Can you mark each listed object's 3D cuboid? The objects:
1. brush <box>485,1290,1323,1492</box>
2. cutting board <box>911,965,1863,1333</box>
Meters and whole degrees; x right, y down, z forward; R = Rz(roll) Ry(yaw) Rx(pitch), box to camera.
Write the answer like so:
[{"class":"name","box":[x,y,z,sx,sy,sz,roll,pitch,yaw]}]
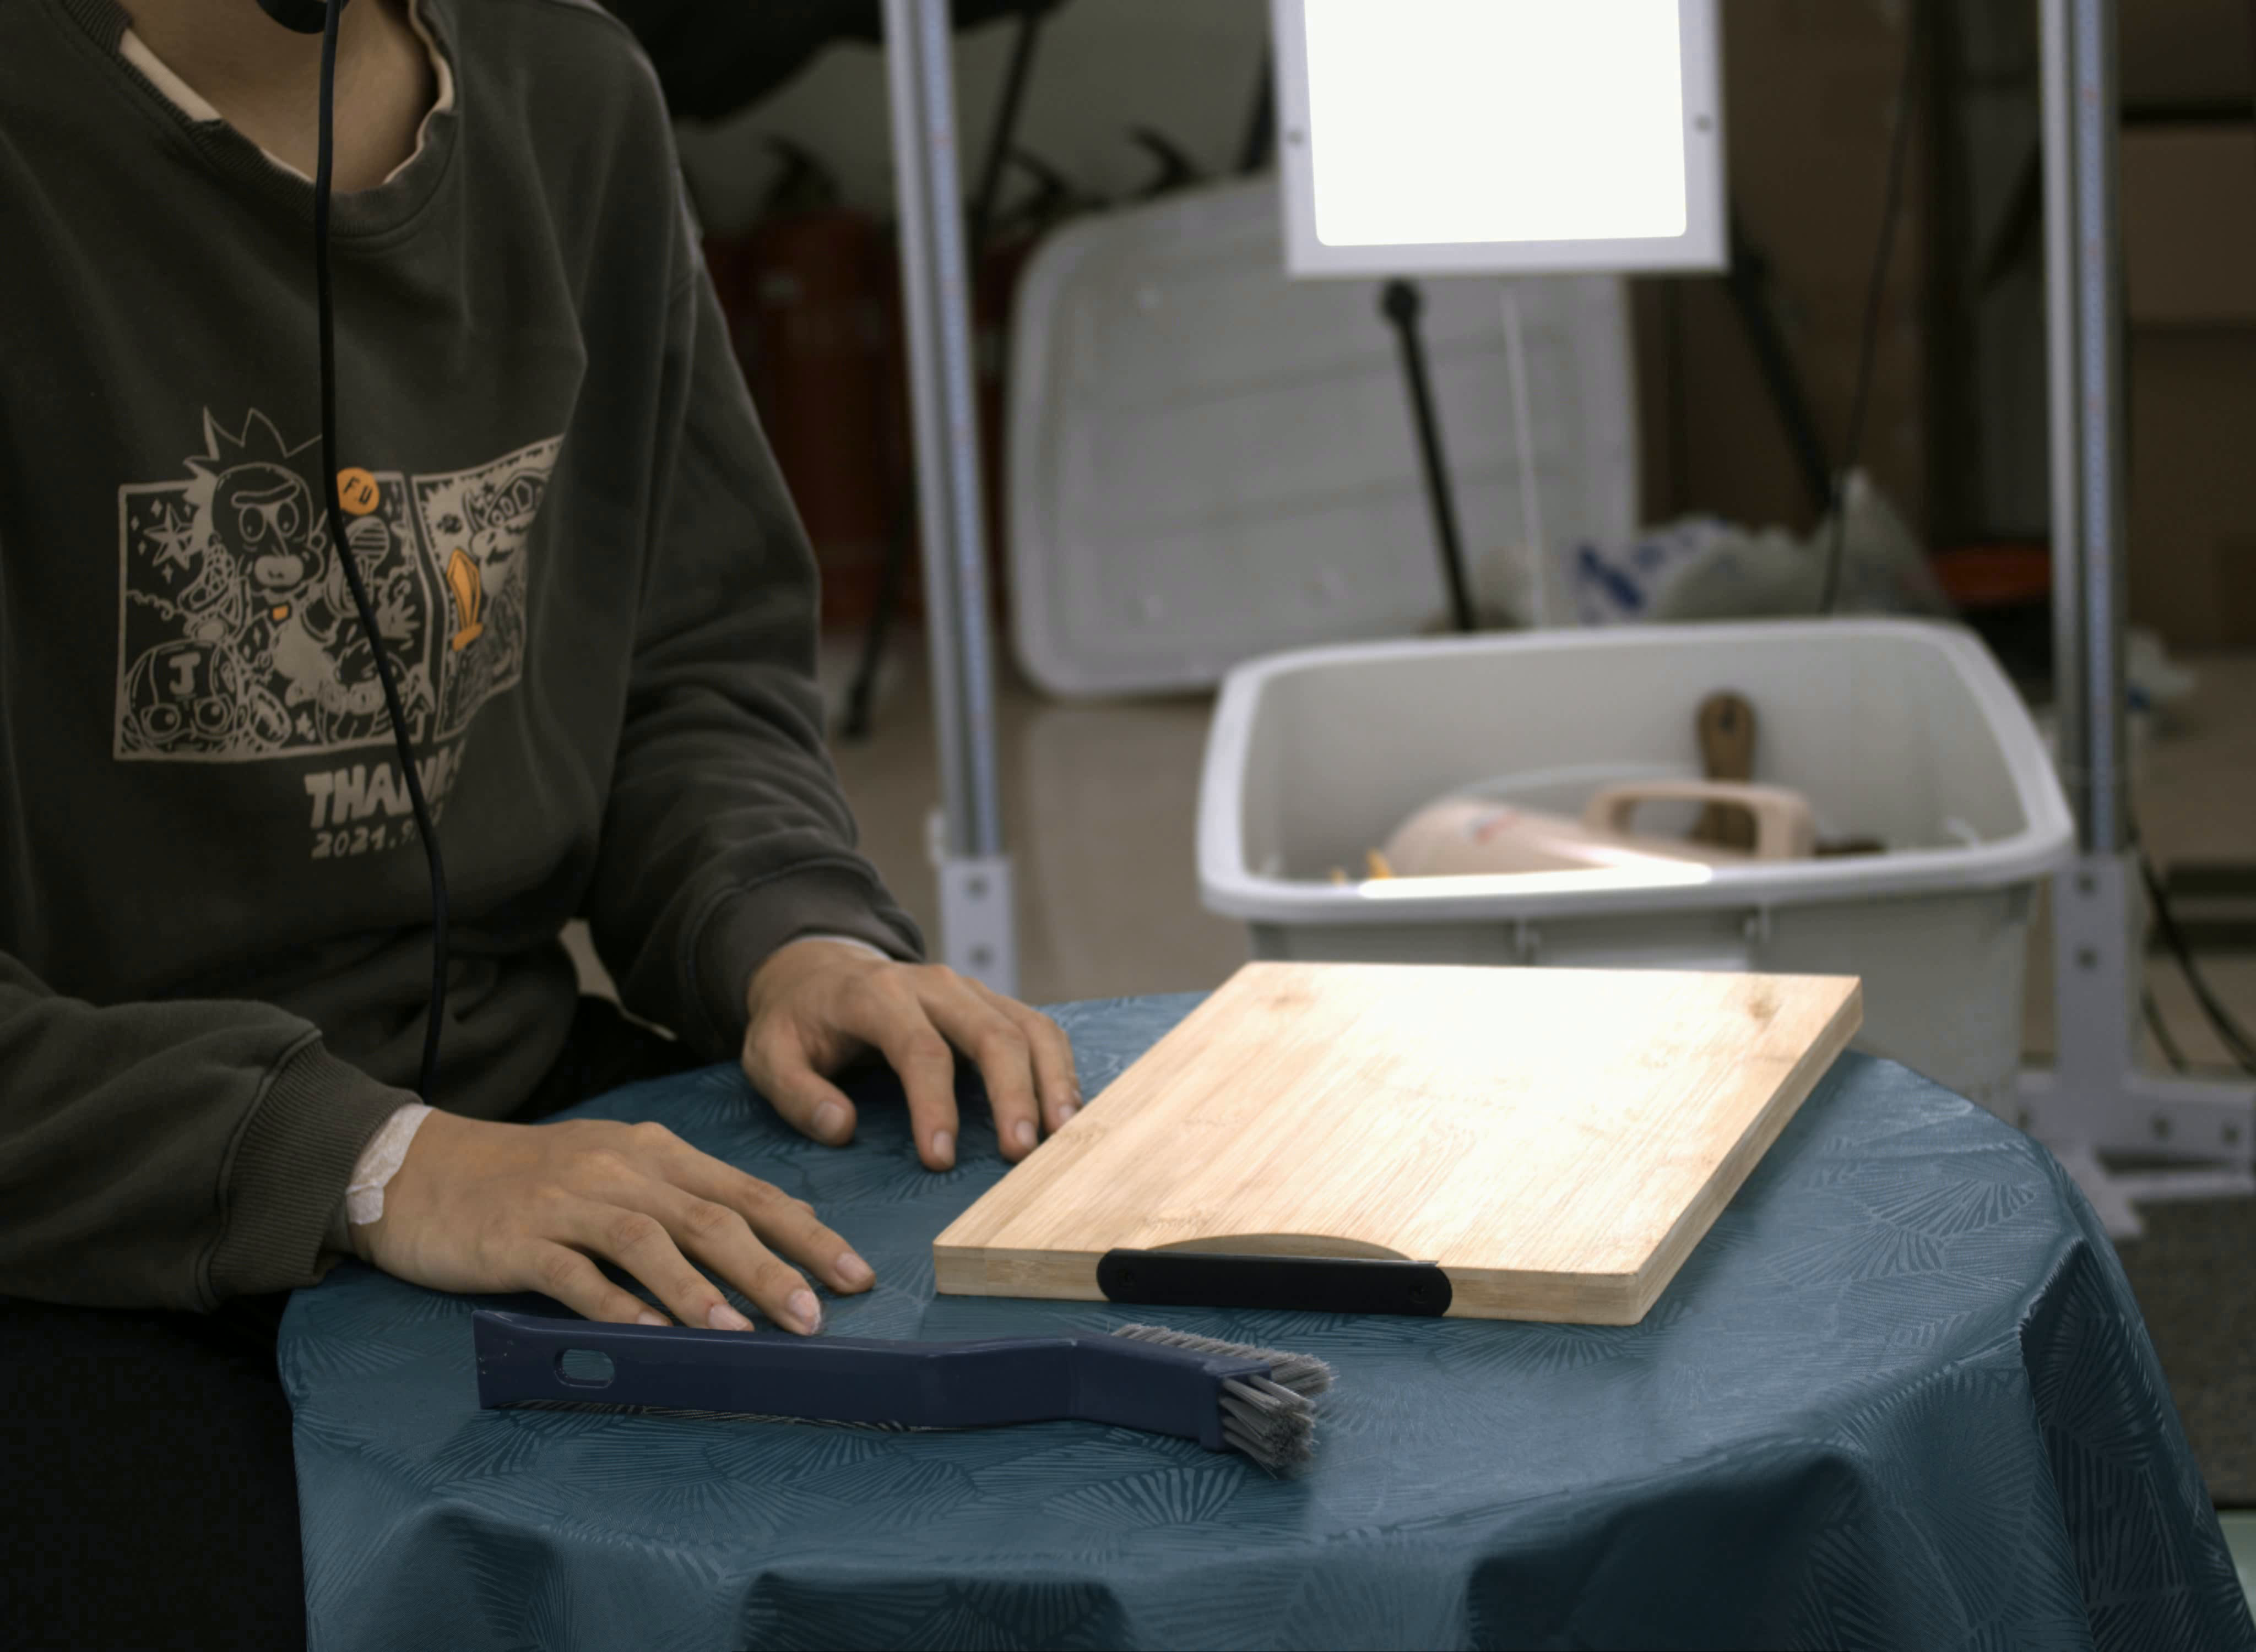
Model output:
[{"class":"brush","box":[-0.076,0.170,1.683,0.276,0.033,0.094,0,15,15]},{"class":"cutting board","box":[0.101,0.107,1.907,0.254,0.023,0.342,-1,14,20]}]
